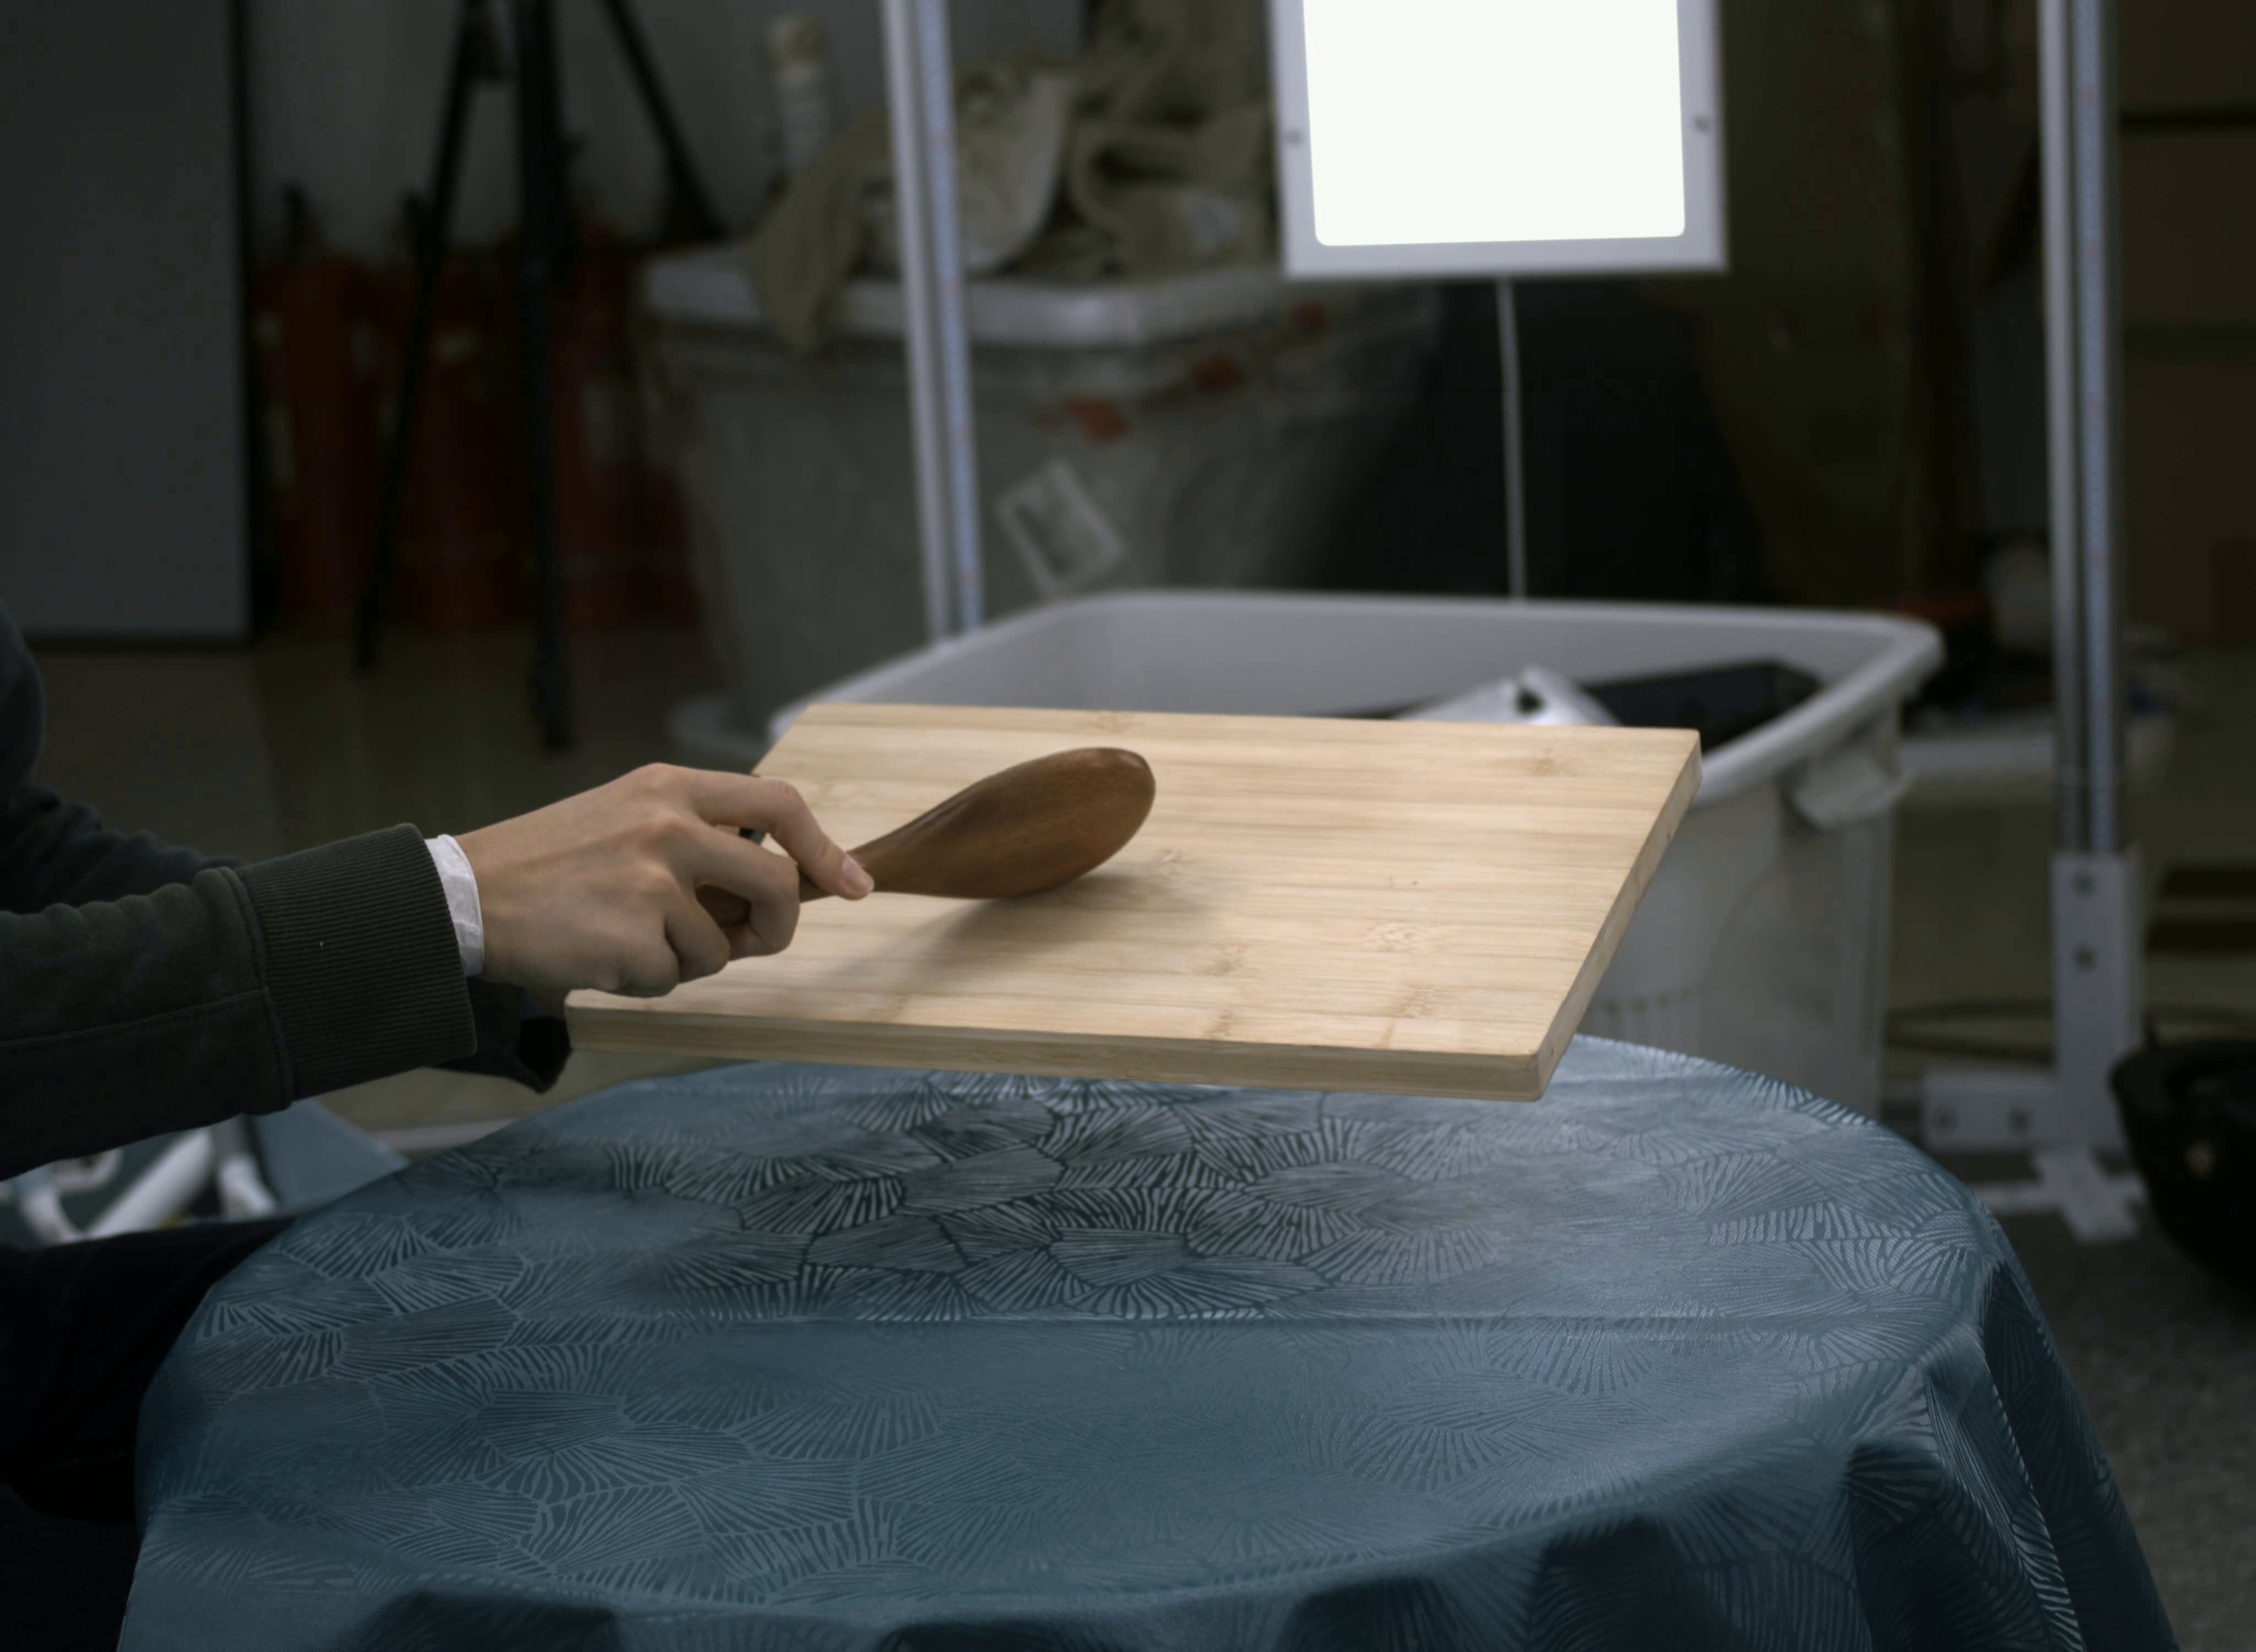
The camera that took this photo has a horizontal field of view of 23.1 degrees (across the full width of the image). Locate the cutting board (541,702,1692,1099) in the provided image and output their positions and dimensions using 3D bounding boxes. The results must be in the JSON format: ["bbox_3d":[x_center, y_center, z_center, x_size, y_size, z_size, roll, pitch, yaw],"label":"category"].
[{"bbox_3d":[0.001,0.021,1.895,0.353,0.023,0.246,1,27,20],"label":"cutting board"}]

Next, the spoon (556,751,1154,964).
[{"bbox_3d":[-0.088,0.015,1.834,0.212,0.017,0.076,-12,-28,-19],"label":"spoon"}]
